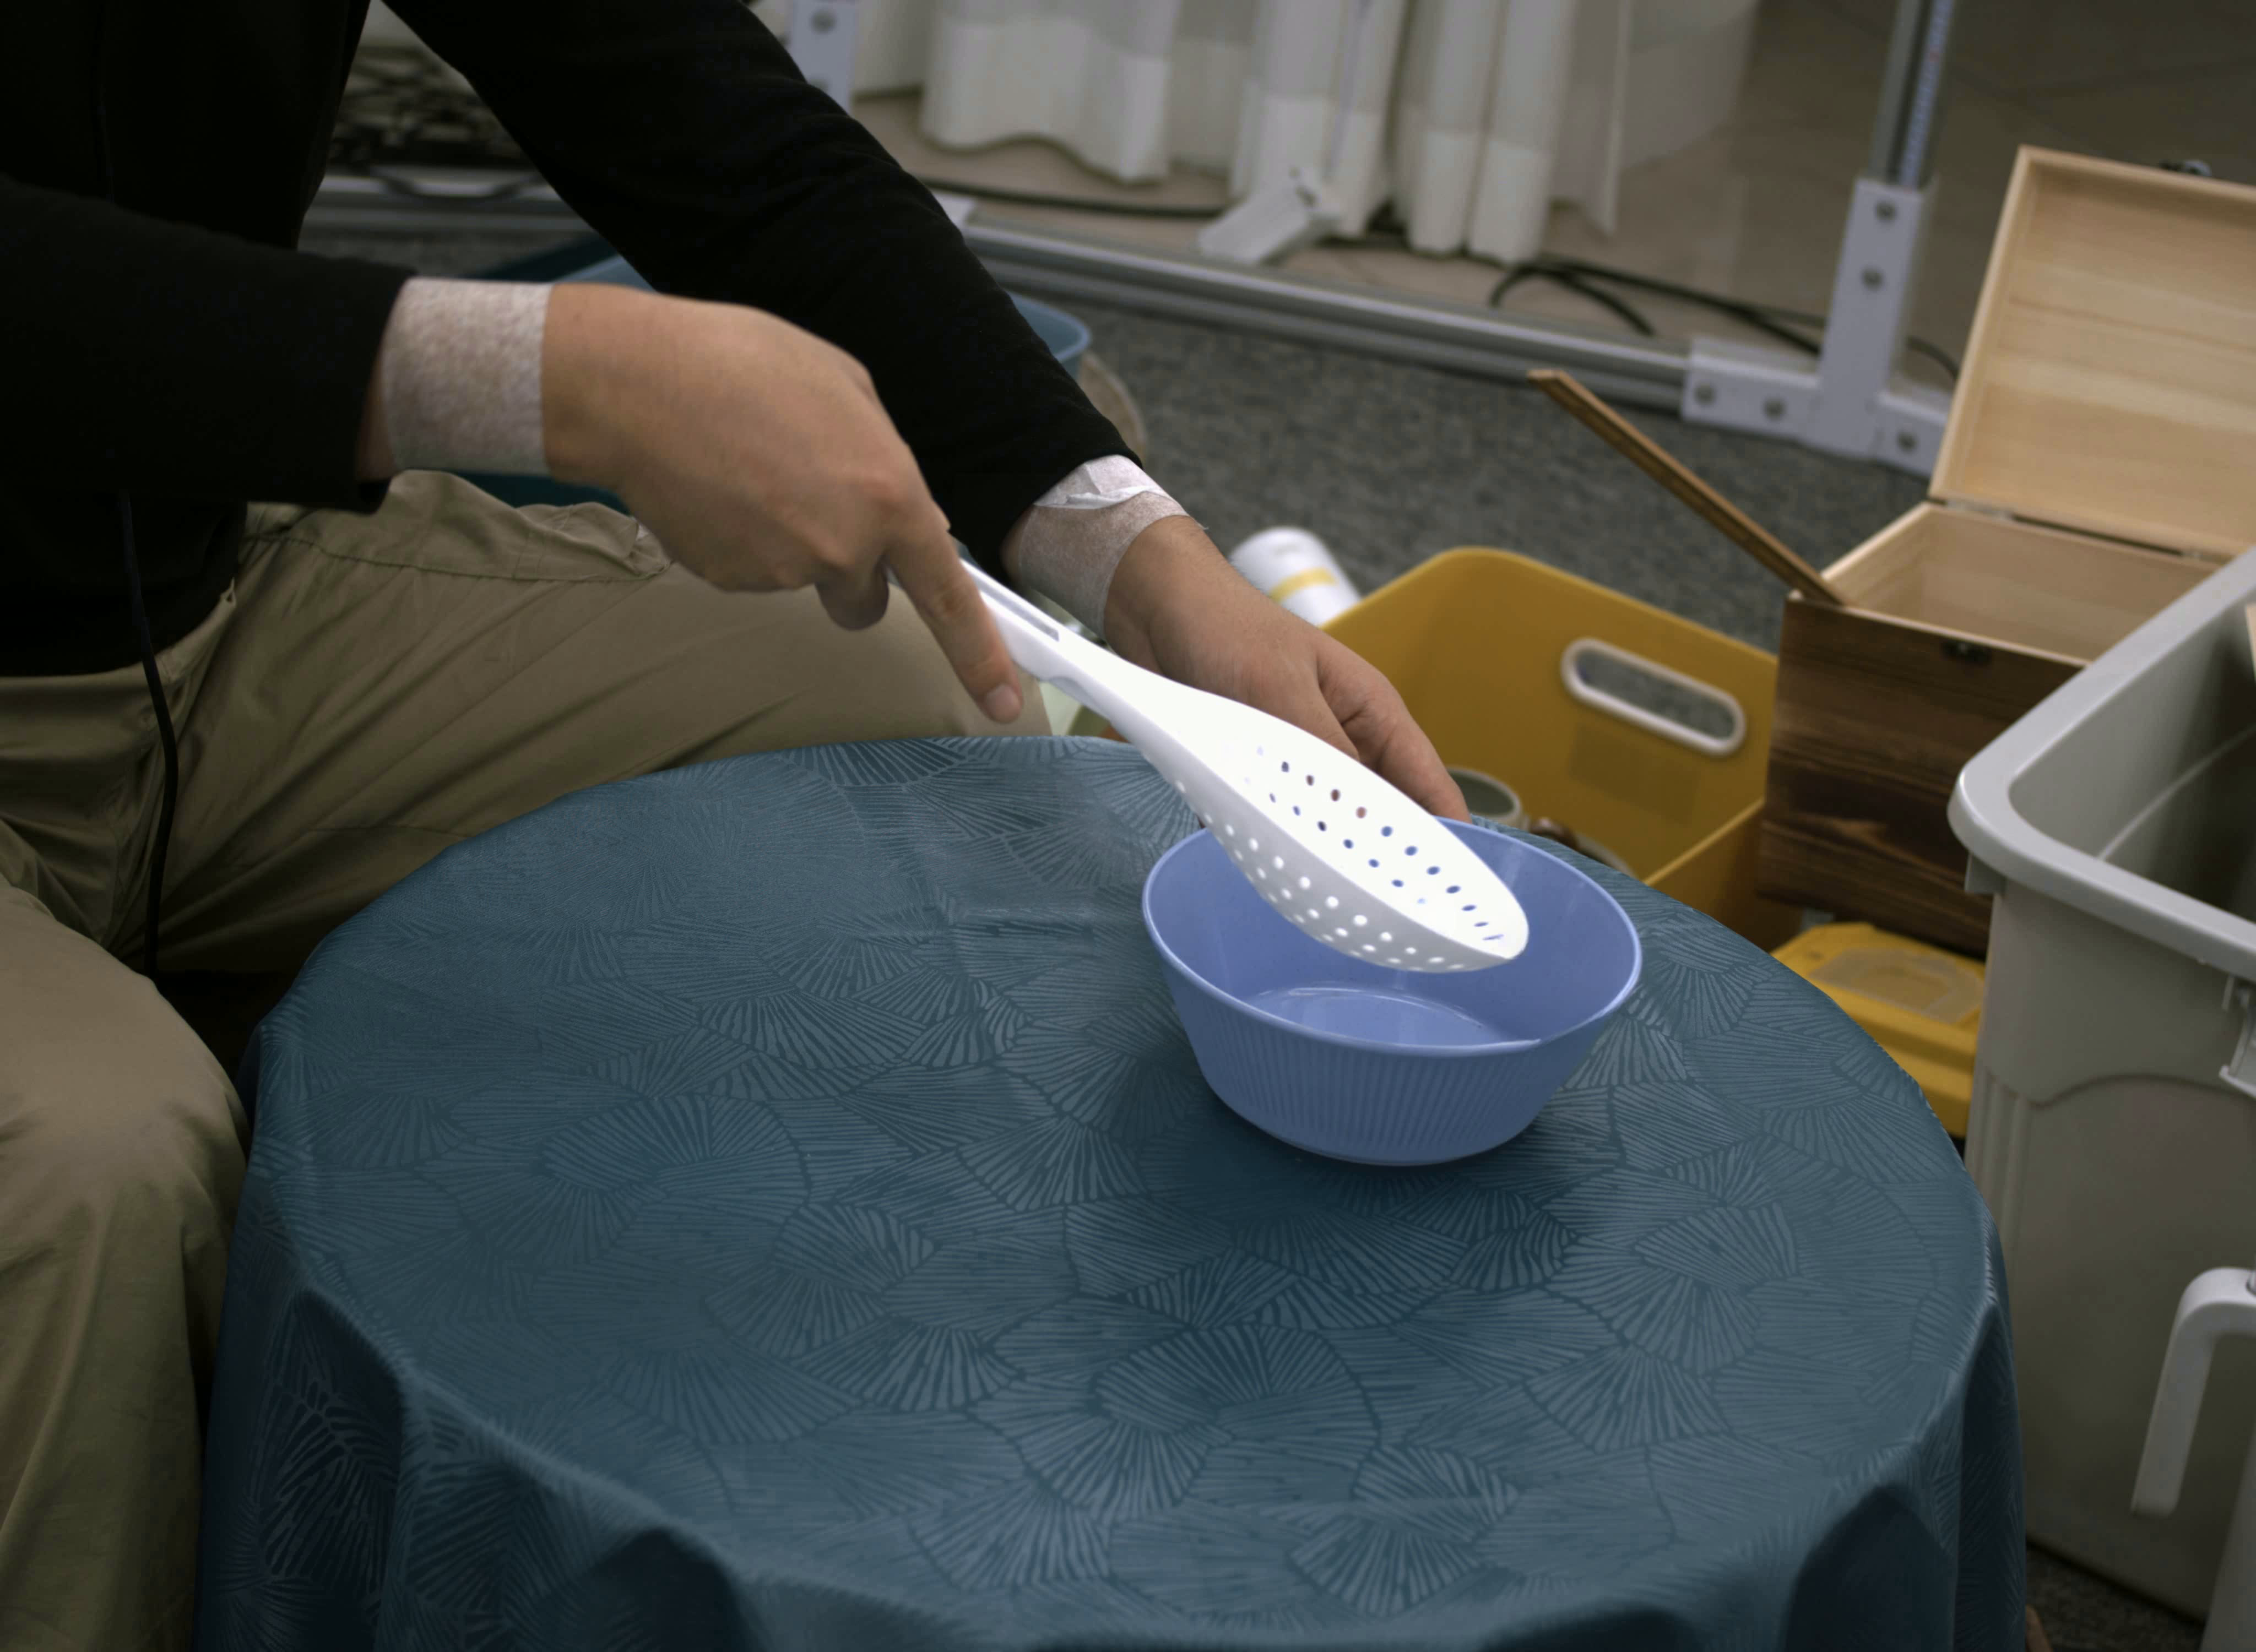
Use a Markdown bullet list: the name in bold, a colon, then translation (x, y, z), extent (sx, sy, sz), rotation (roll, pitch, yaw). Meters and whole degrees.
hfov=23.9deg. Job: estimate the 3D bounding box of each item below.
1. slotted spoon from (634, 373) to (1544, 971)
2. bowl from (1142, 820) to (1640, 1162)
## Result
- **slotted spoon**: translation (-0.012, -0.050, 1.754), extent (0.348, 0.046, 0.136), rotation (36, 16, -12)
- **bowl**: translation (0.088, 0.061, 1.866), extent (0.175, 0.070, 0.177), rotation (5, 26, -3)
